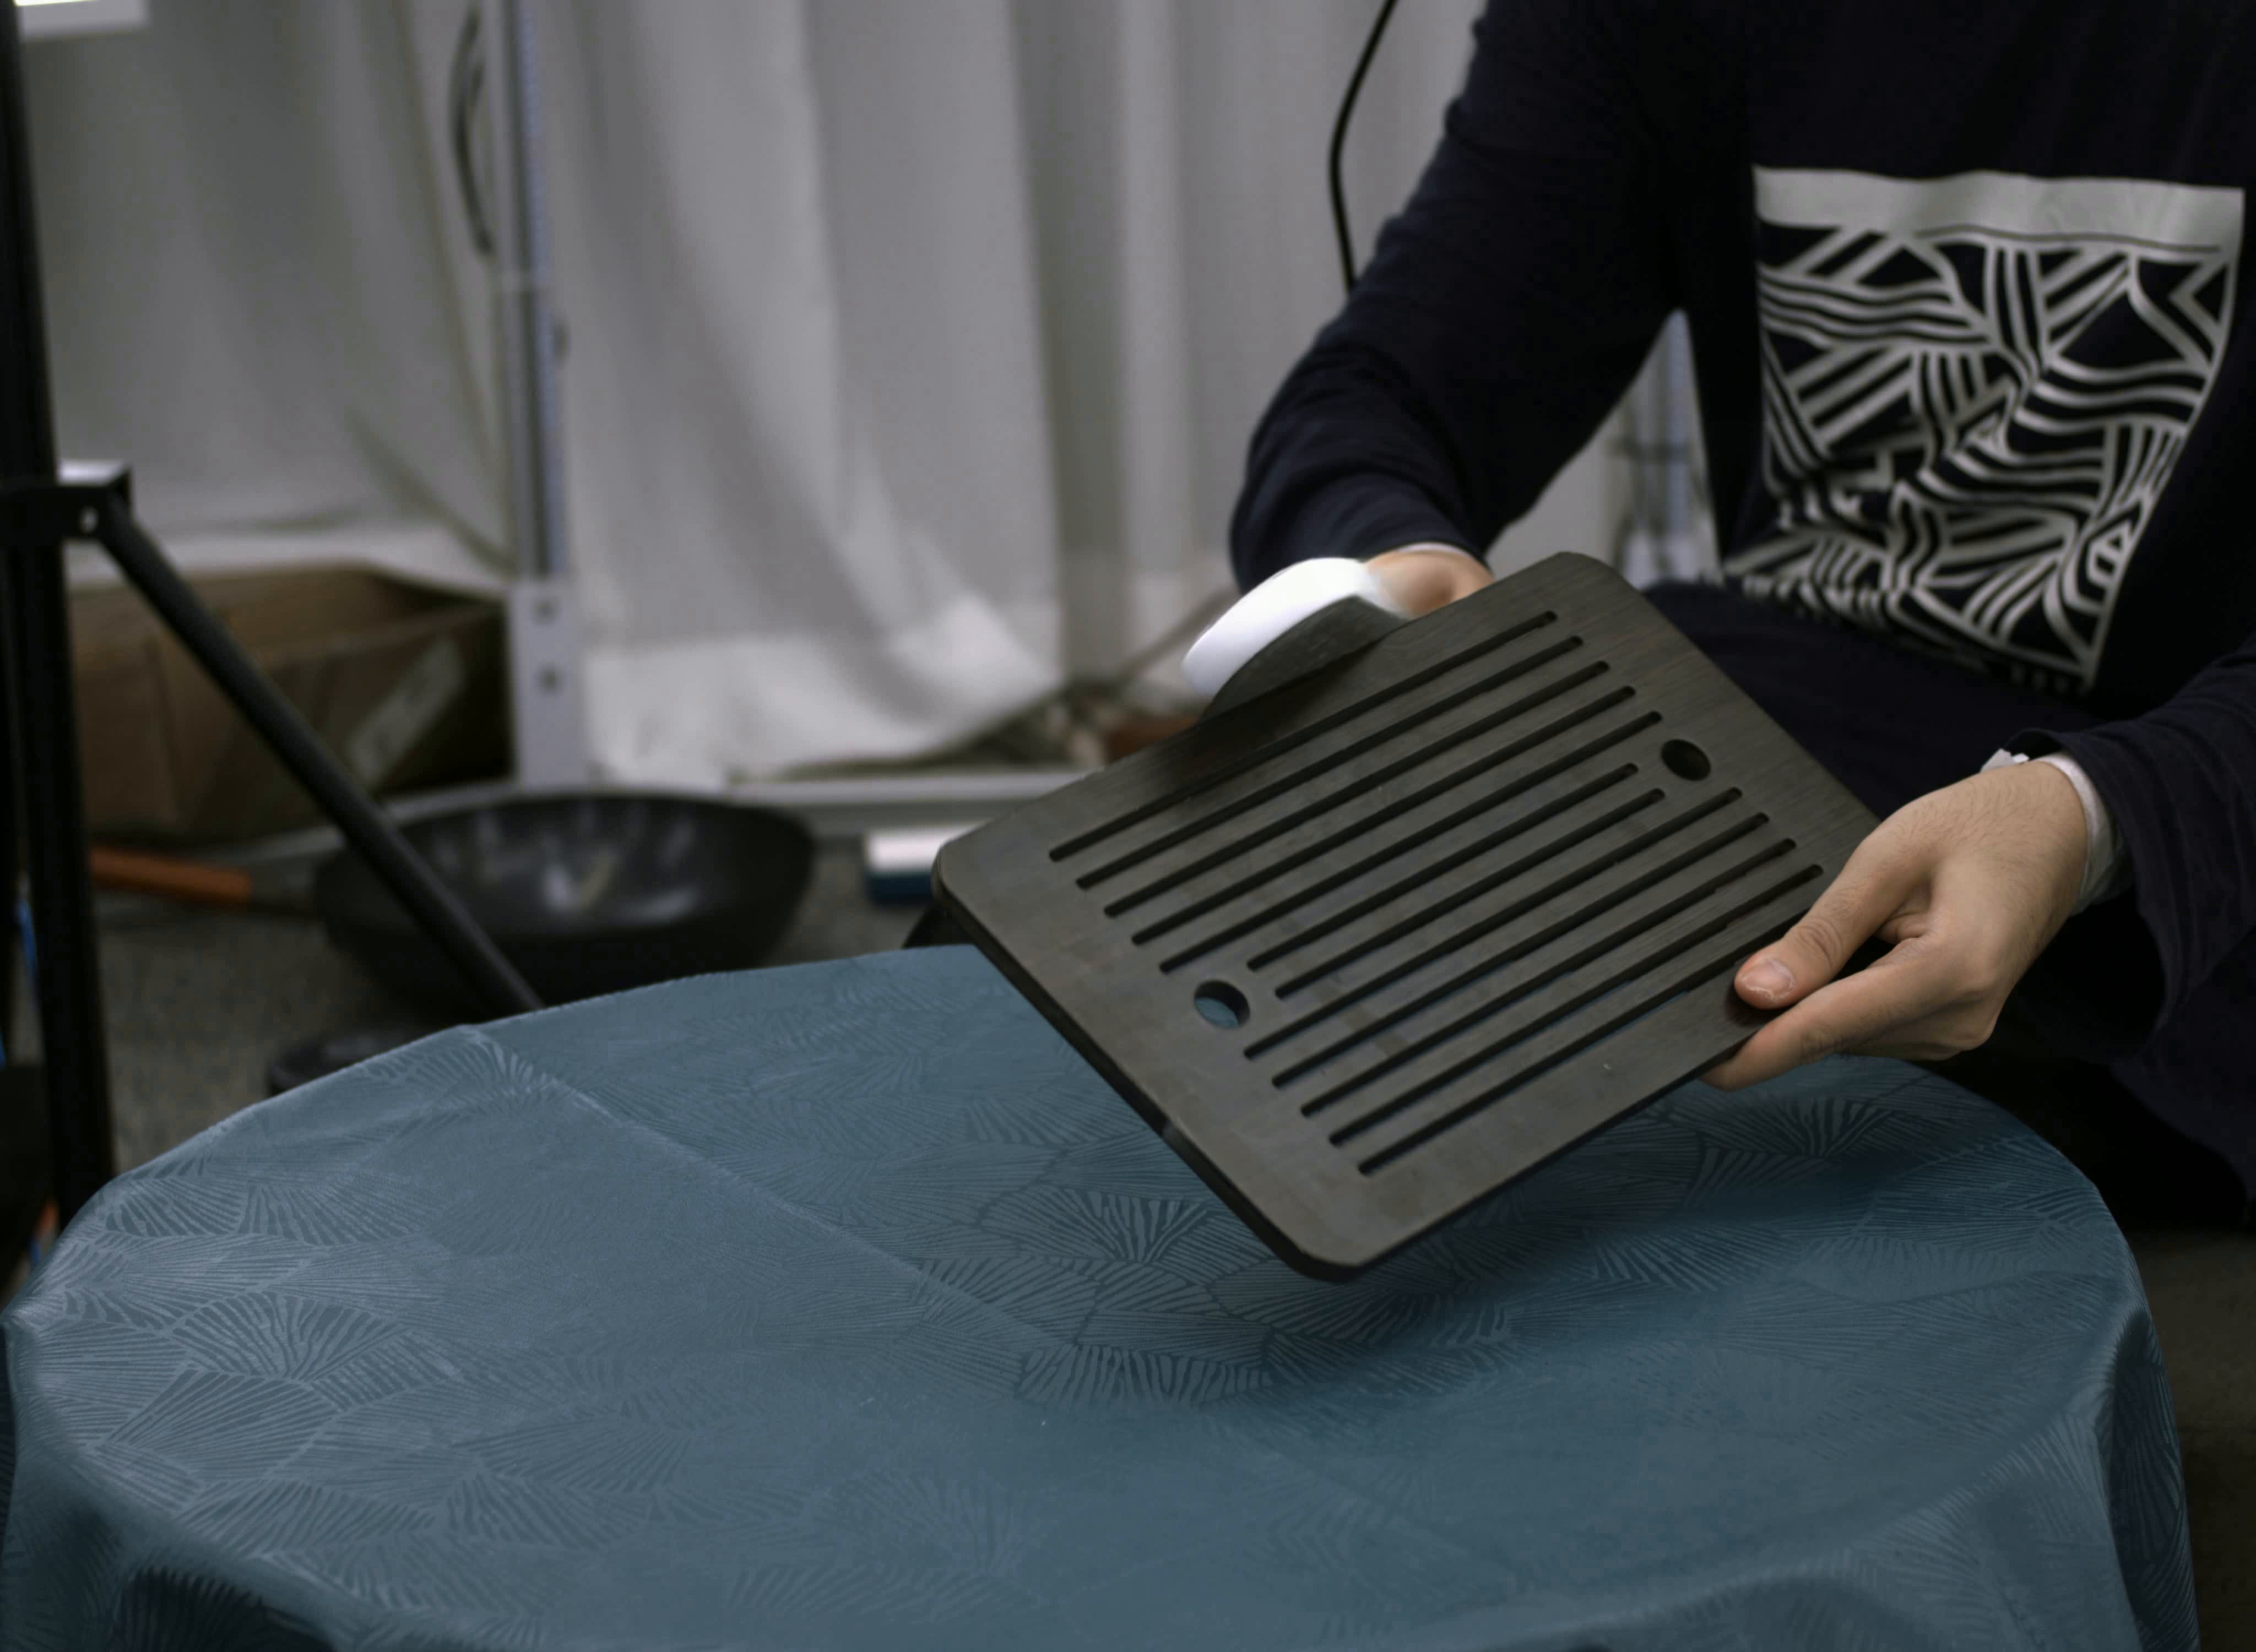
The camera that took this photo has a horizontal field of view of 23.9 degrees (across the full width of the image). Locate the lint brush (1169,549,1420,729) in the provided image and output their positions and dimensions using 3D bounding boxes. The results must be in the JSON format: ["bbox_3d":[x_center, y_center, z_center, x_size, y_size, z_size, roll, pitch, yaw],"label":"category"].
[{"bbox_3d":[0.066,-0.052,1.655,0.060,0.021,0.305,-41,-10,8],"label":"lint brush"}]

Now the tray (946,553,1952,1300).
[{"bbox_3d":[0.098,0.024,1.529,0.173,0.019,0.300,44,44,20],"label":"tray"}]
